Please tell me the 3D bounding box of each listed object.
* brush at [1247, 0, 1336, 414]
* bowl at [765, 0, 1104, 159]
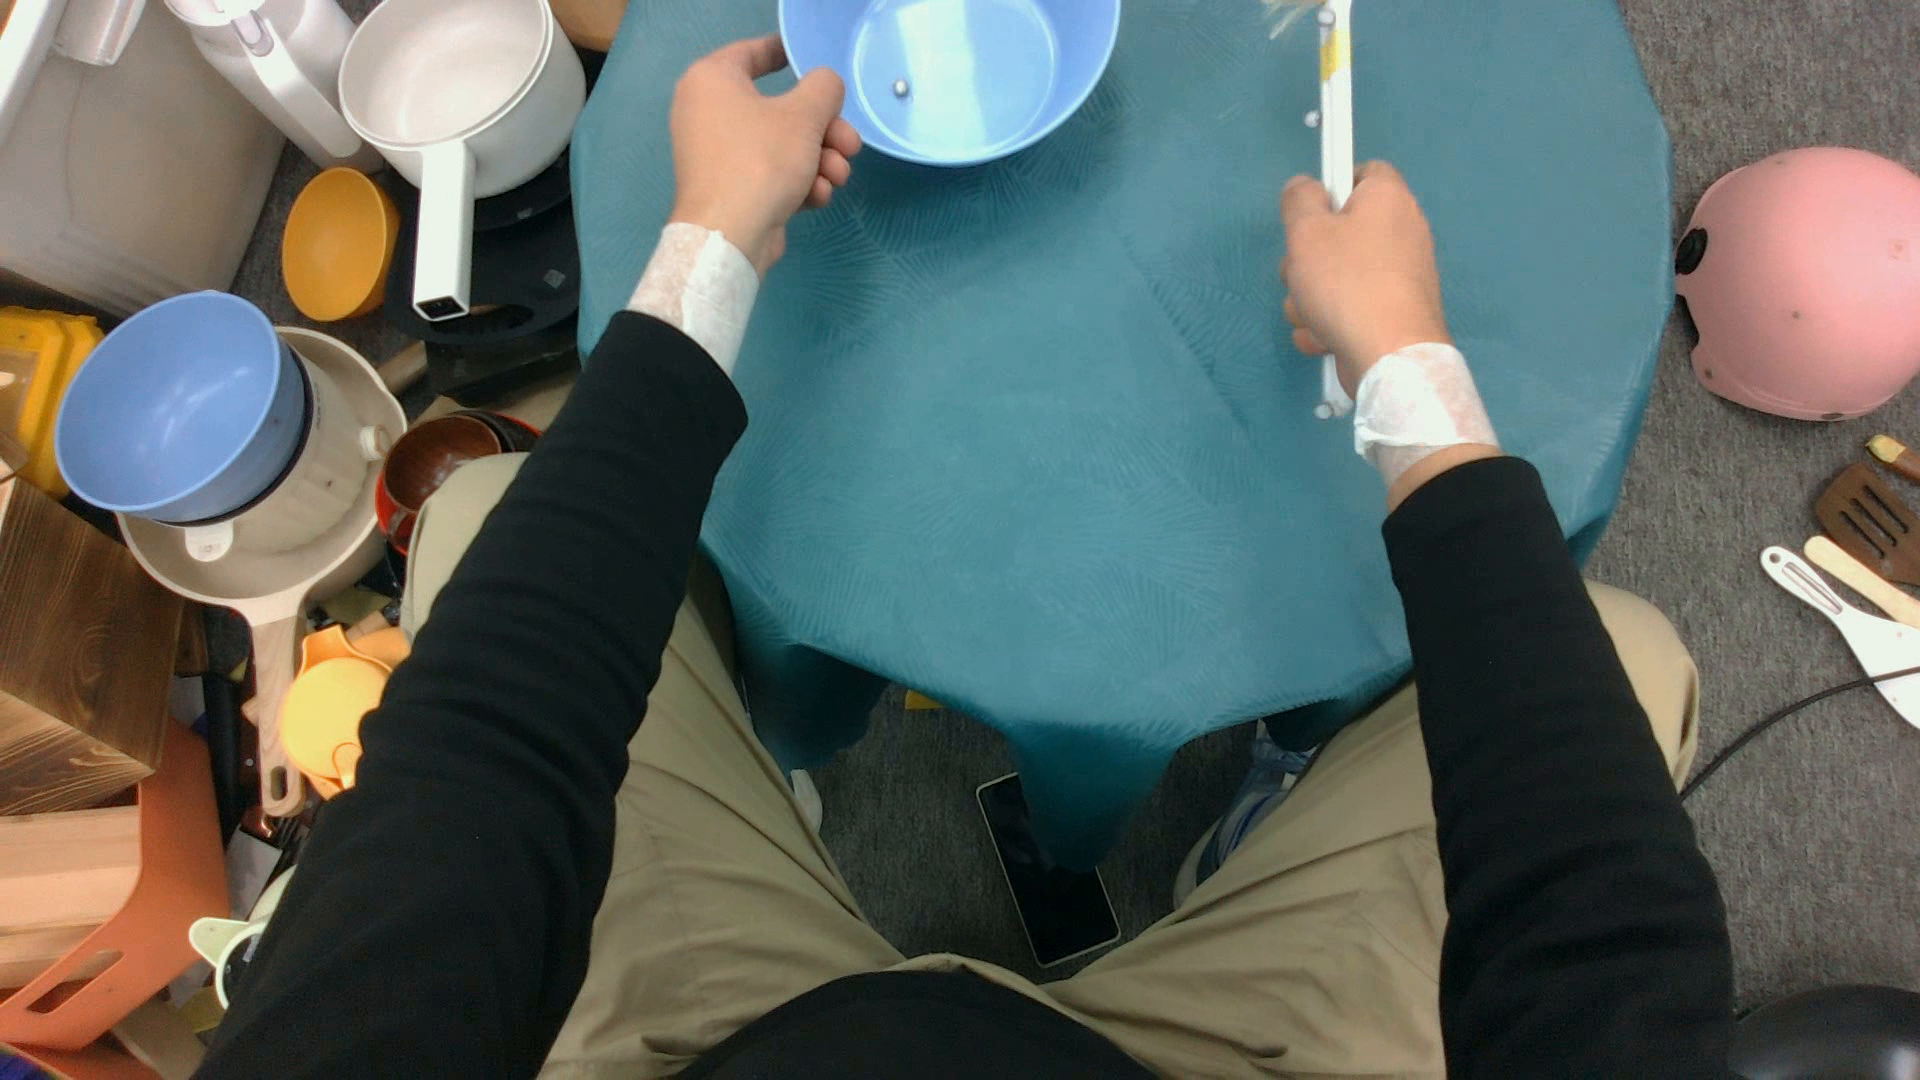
[{"bbox_3d":[0.163,-0.196,0.665,0.056,0.068,0.266,5,89,-6],"label":"brush"},{"bbox_3d":[-0.012,-0.274,0.740,0.176,0.070,0.176,0,79,2],"label":"bowl"}]
